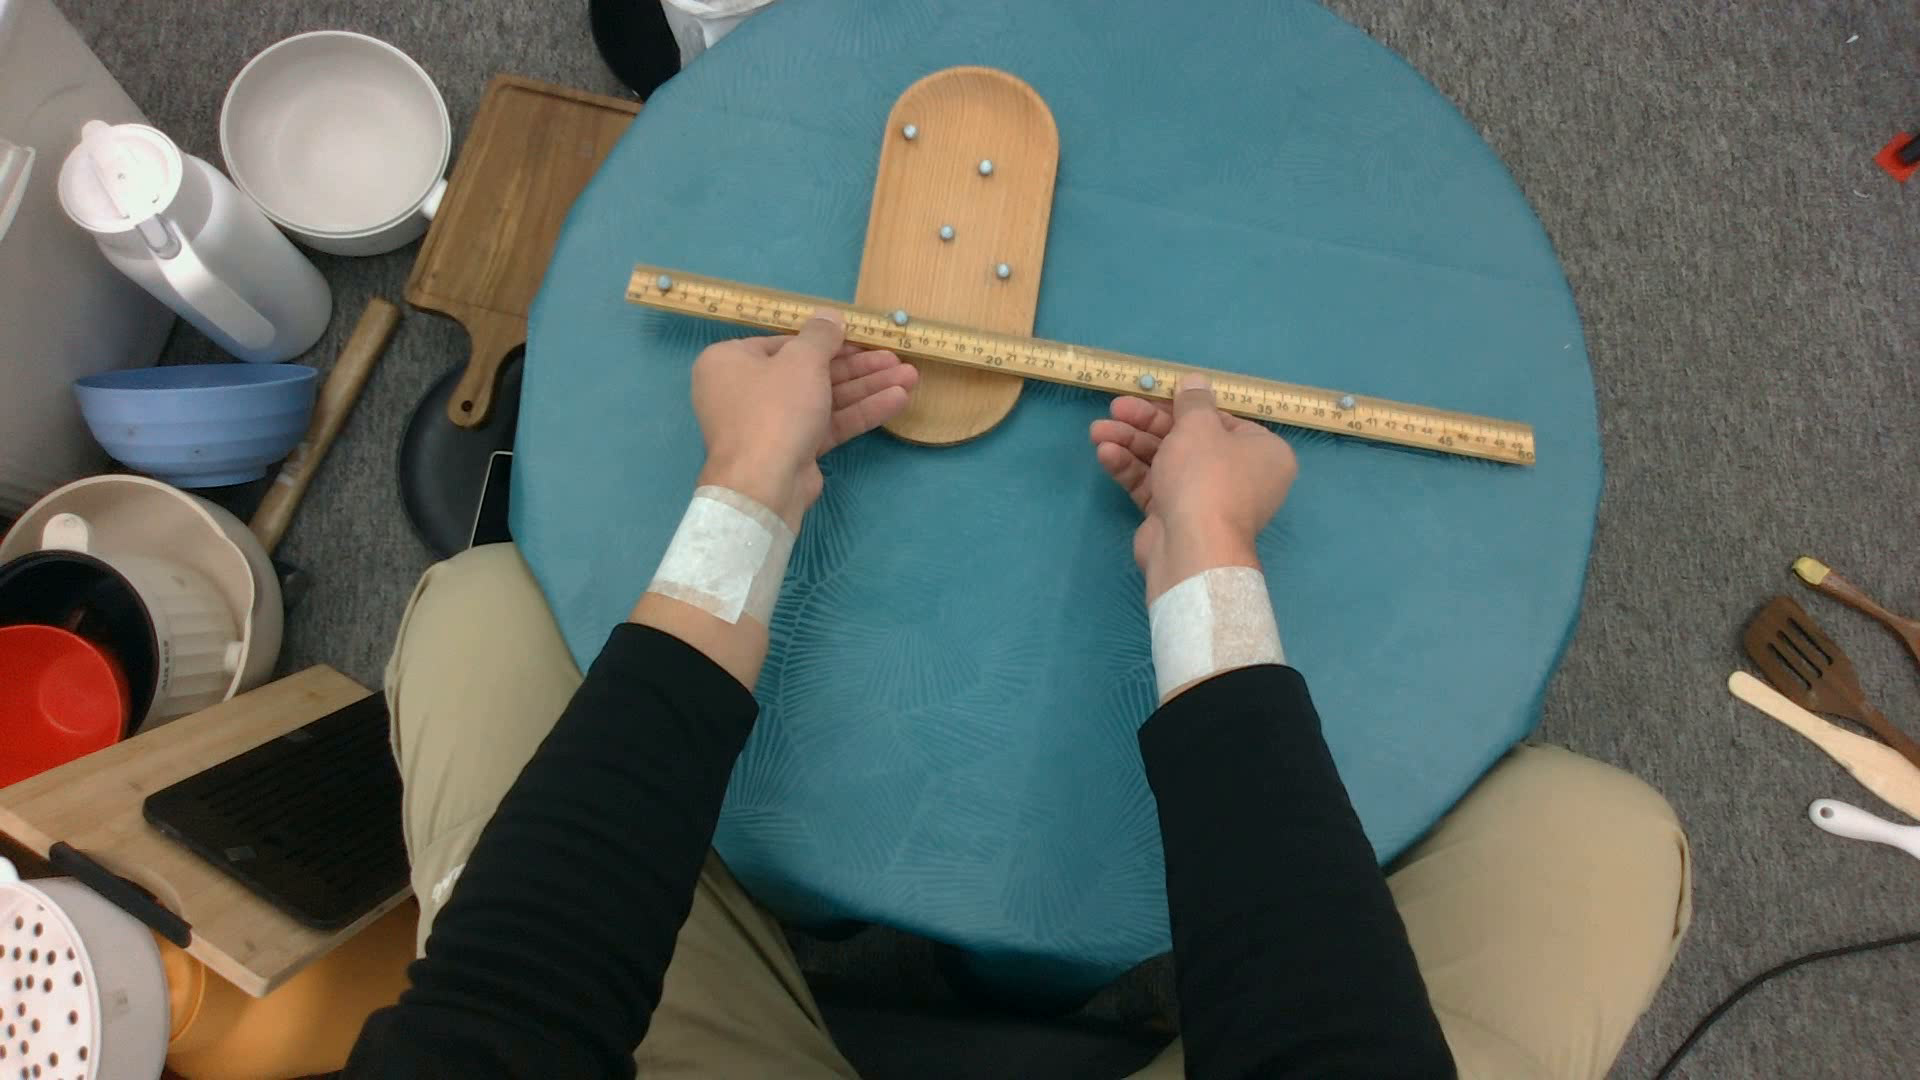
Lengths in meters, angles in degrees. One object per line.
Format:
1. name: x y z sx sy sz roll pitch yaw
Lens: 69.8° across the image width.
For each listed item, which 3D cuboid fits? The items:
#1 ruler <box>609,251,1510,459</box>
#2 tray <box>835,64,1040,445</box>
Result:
1. ruler: 0.059 -0.100 0.752 0.500 0.006 0.027 10 63 -3
2. tray: -0.011 -0.163 0.777 0.101 0.020 0.231 6 77 1
